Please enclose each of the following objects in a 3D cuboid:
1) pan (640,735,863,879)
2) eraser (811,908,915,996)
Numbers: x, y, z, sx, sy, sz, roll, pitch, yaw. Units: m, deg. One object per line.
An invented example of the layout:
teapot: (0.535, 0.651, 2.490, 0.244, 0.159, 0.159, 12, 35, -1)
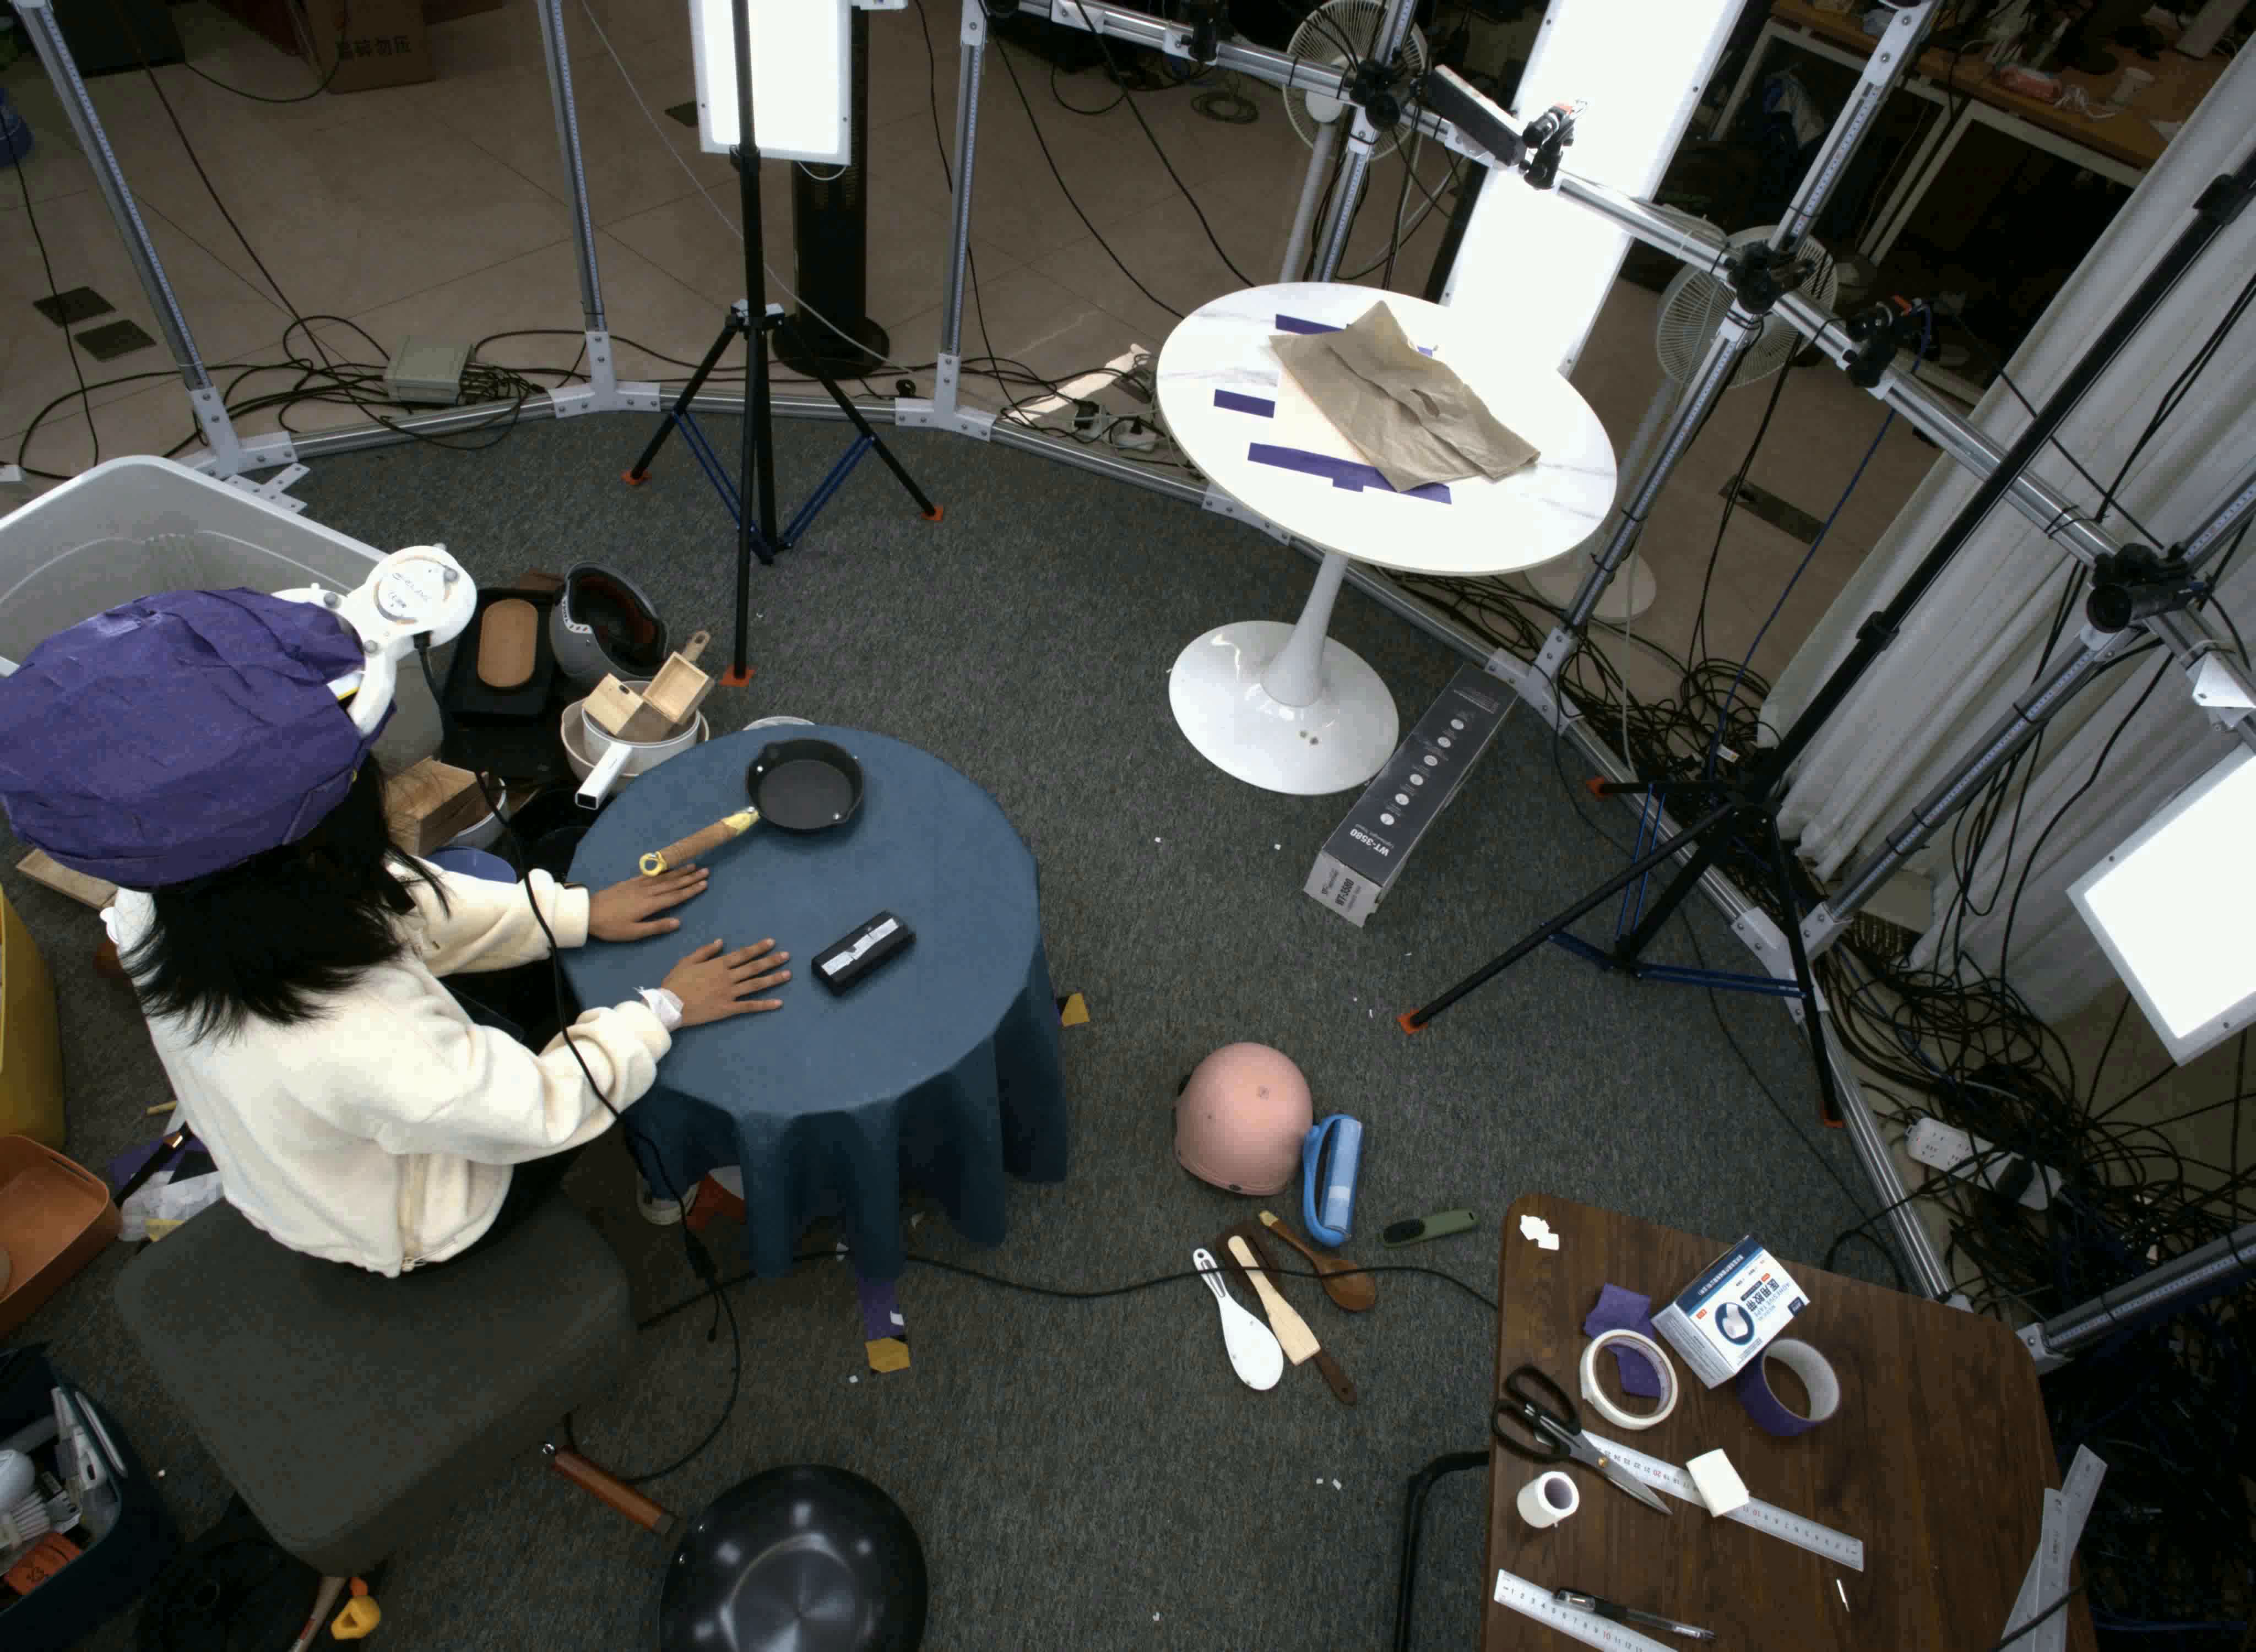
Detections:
pan: (-0.491, -0.016, 1.680, 0.325, 0.050, 0.165, -34, 69, -33)
eraser: (-0.328, 0.152, 1.613, 0.052, 0.031, 0.126, 41, 56, 19)
